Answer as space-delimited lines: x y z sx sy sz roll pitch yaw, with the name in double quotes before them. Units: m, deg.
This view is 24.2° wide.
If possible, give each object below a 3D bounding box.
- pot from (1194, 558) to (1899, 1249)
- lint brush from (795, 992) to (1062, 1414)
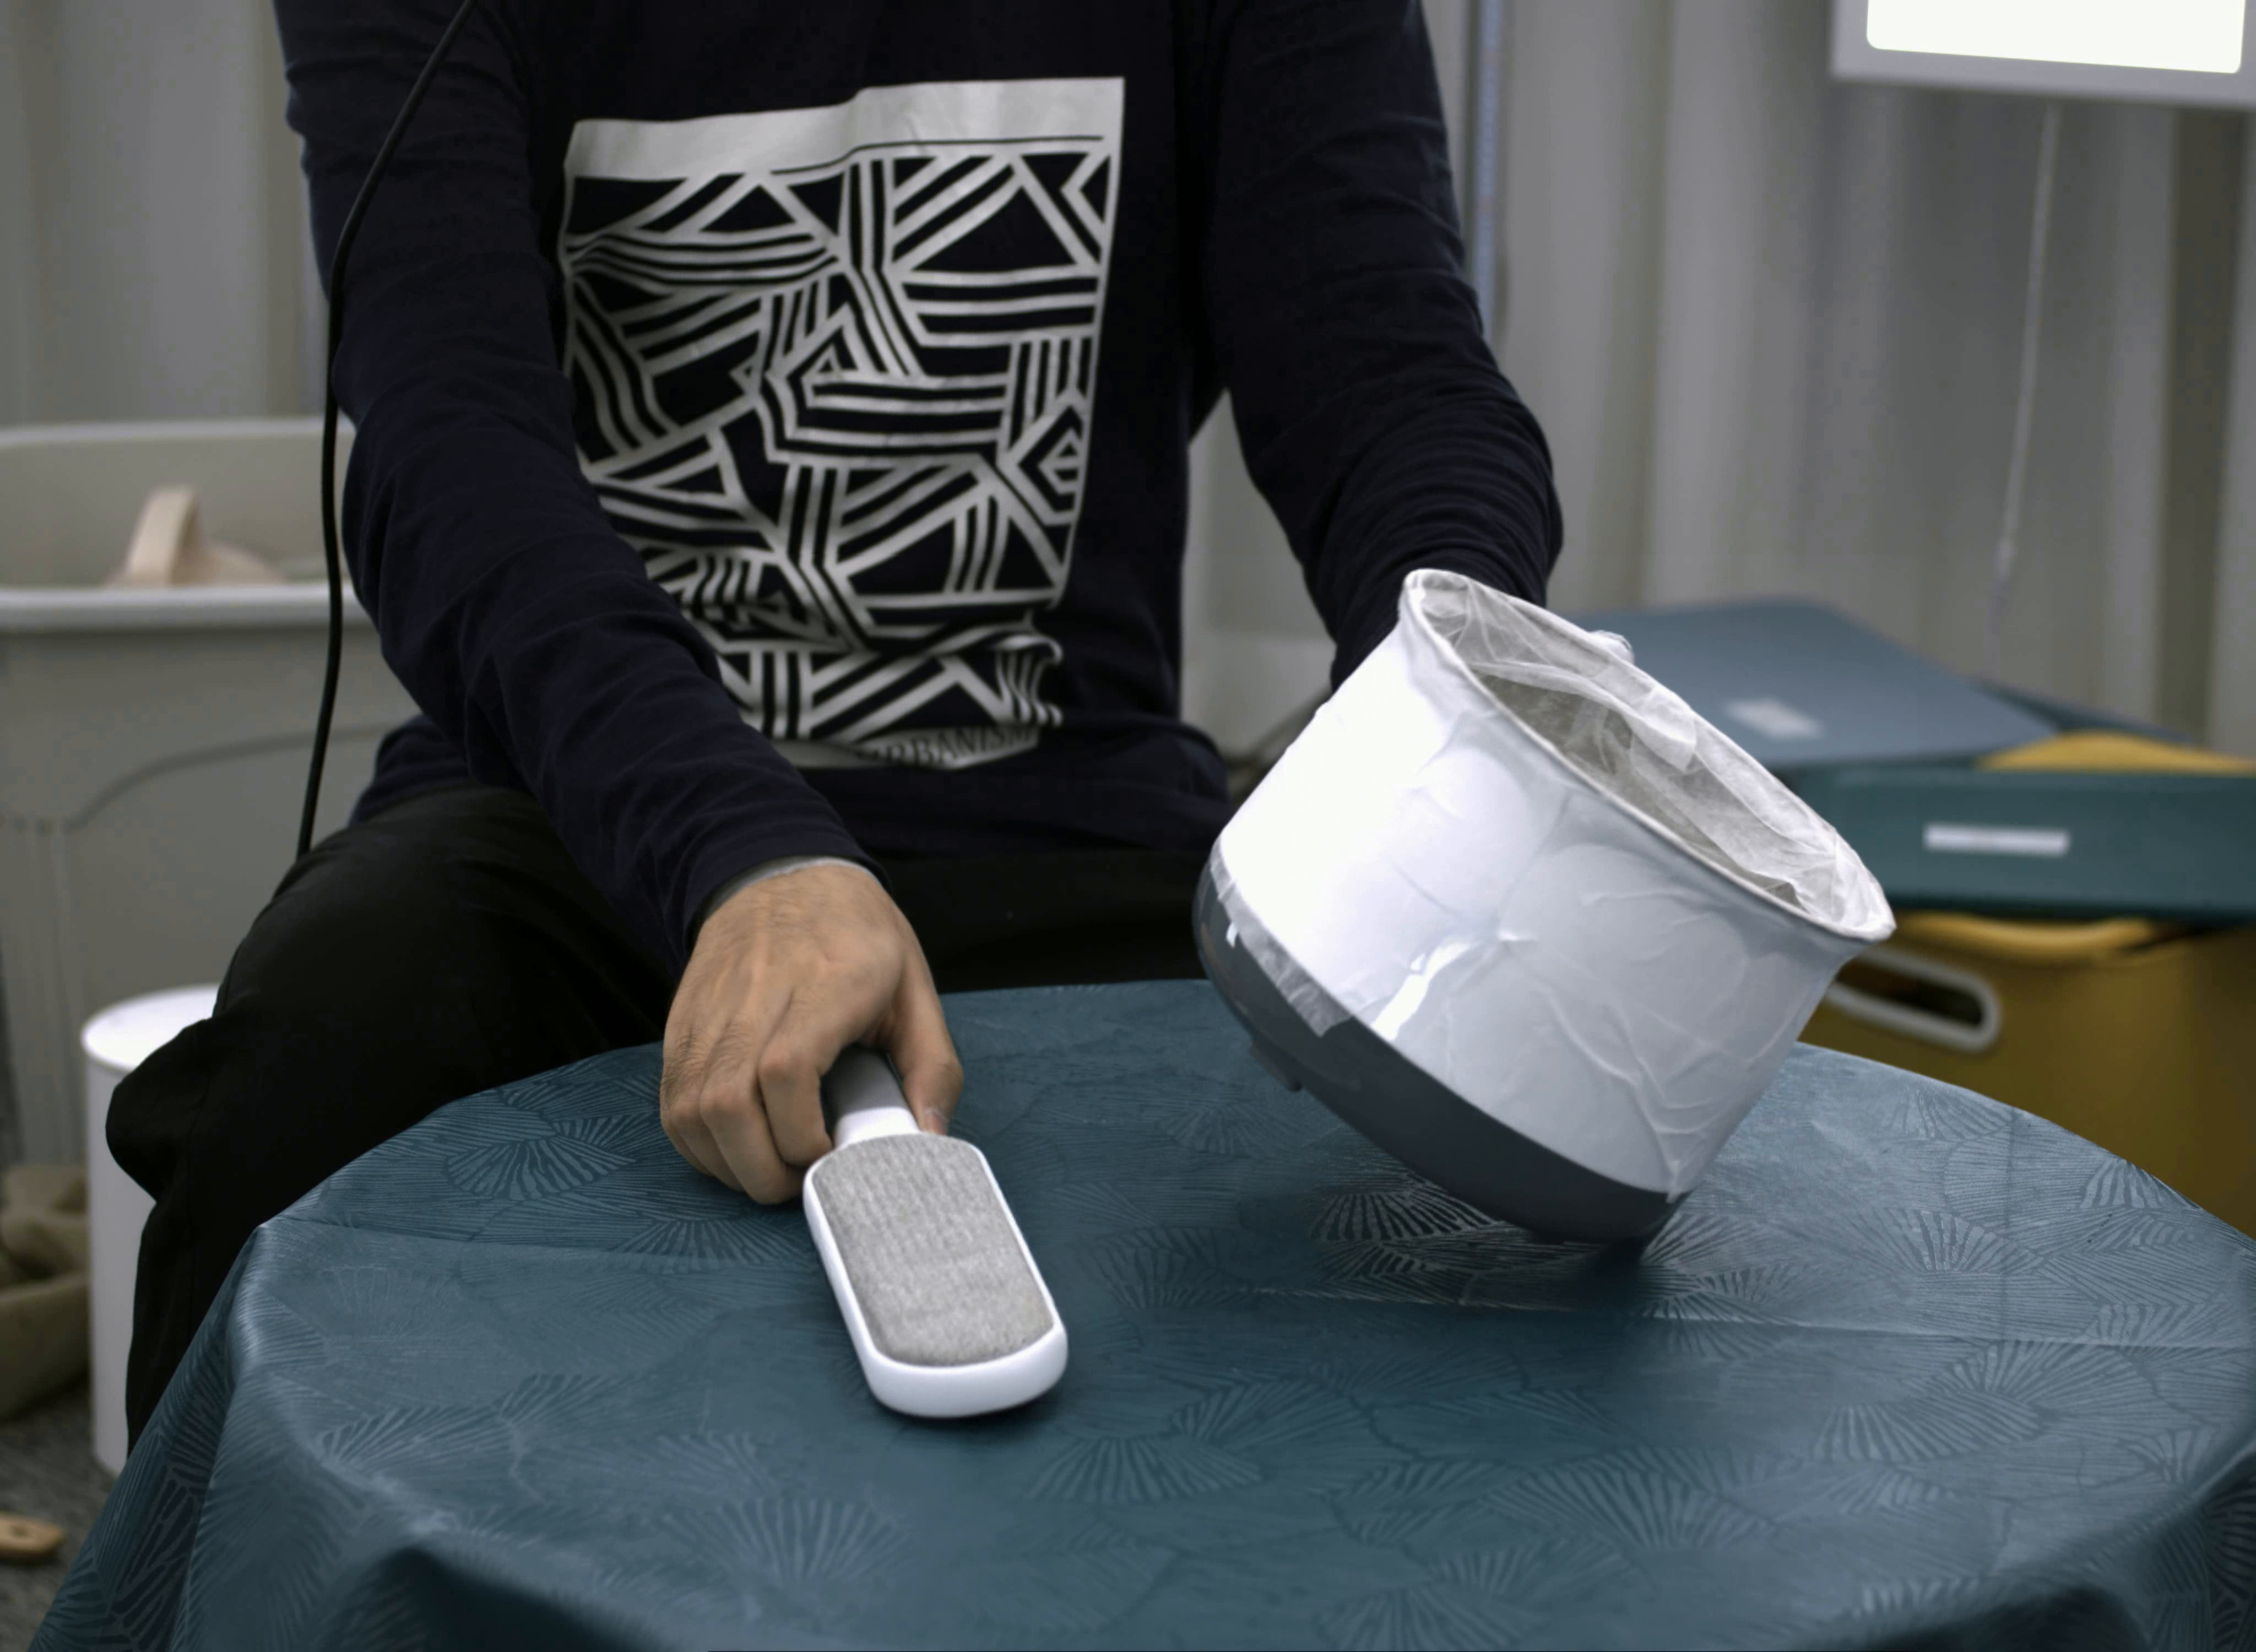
"pot" 0.118 0.016 1.582 0.179 0.137 0.232 34 16 -14
"lint brush" -0.068 0.106 1.567 0.060 0.021 0.306 -14 20 -7
